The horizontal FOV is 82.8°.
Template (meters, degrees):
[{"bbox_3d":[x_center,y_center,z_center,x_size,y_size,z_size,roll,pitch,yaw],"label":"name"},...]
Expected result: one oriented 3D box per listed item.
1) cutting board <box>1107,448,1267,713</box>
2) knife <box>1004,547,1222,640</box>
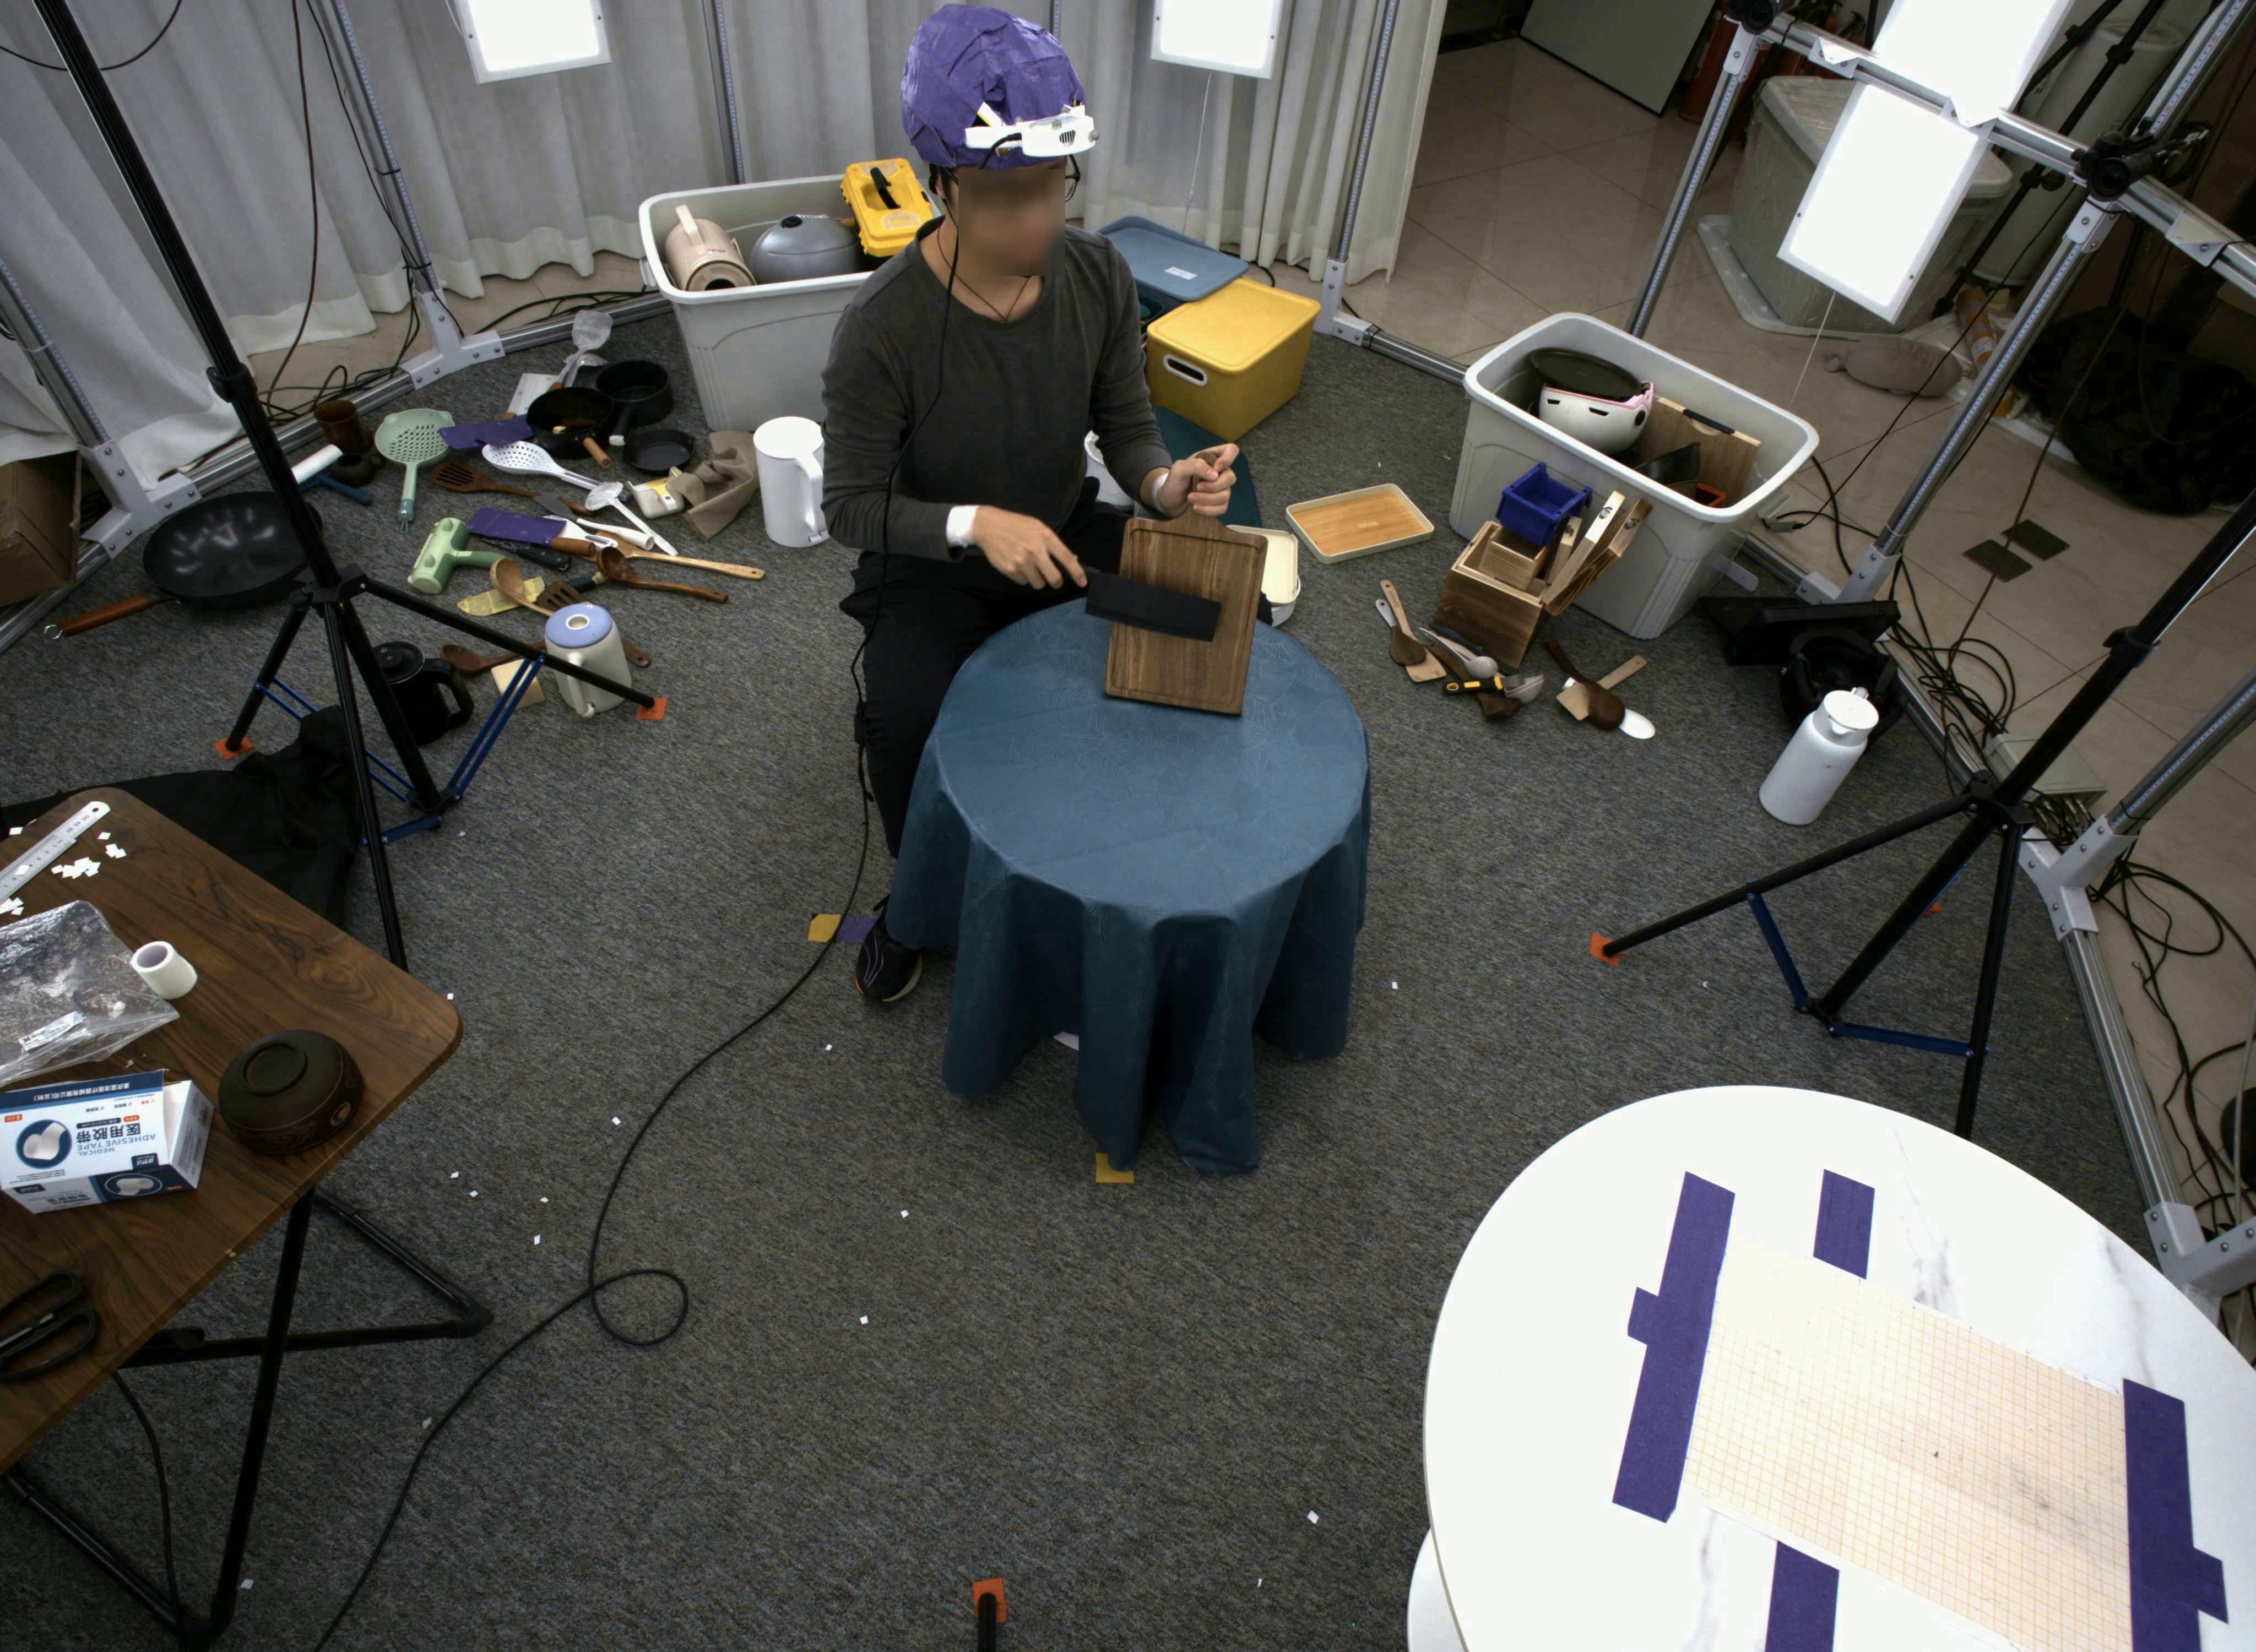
[{"bbox_3d":[0.084,-0.336,1.766,0.201,0.347,0.023,8,17,4],"label":"cutting board"},{"bbox_3d":[-0.022,-0.317,1.742,0.302,0.079,0.021,19,31,1],"label":"knife"}]
